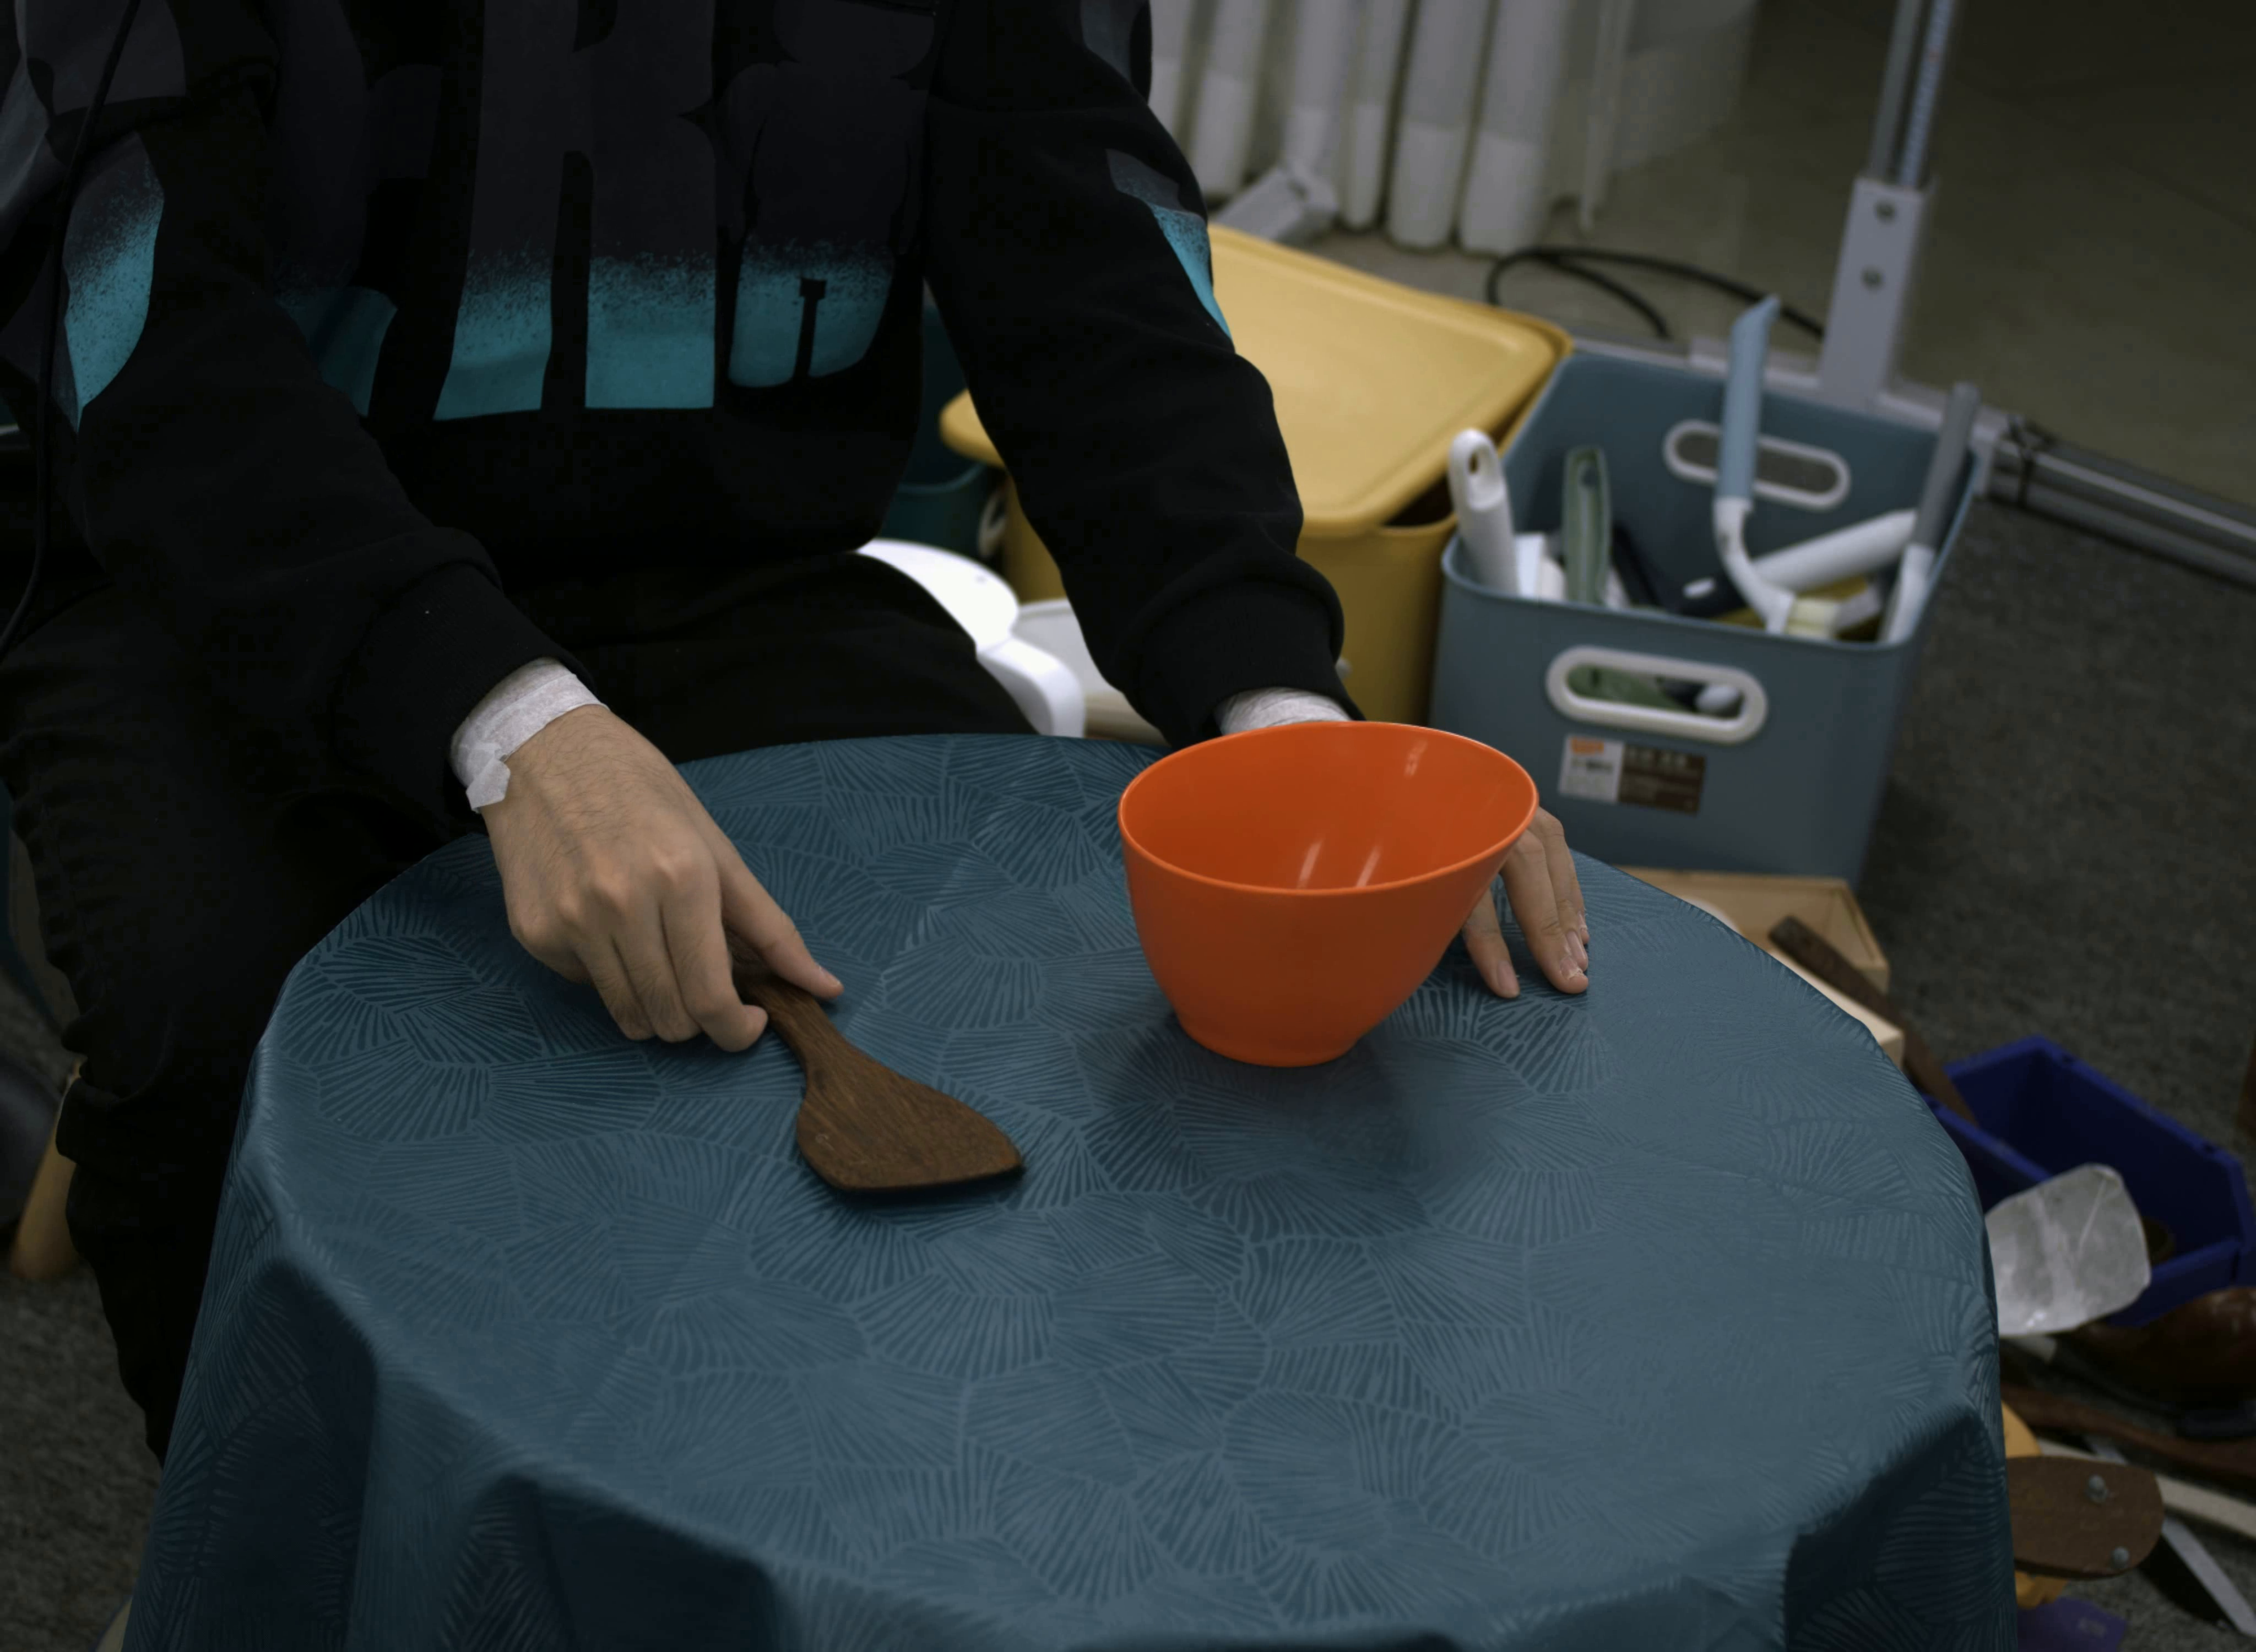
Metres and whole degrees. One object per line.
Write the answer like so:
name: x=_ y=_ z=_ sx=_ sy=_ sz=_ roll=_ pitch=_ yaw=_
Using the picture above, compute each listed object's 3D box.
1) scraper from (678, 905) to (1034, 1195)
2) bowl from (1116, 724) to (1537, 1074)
scraper: x=-0.107 y=0.077 z=1.859 sx=0.075 sy=0.011 sz=0.213 roll=-6 pitch=28 yaw=-27
bowl: x=0.066 y=0.030 z=1.890 sx=0.147 sy=0.104 sz=0.149 roll=3 pitch=27 yaw=-2
